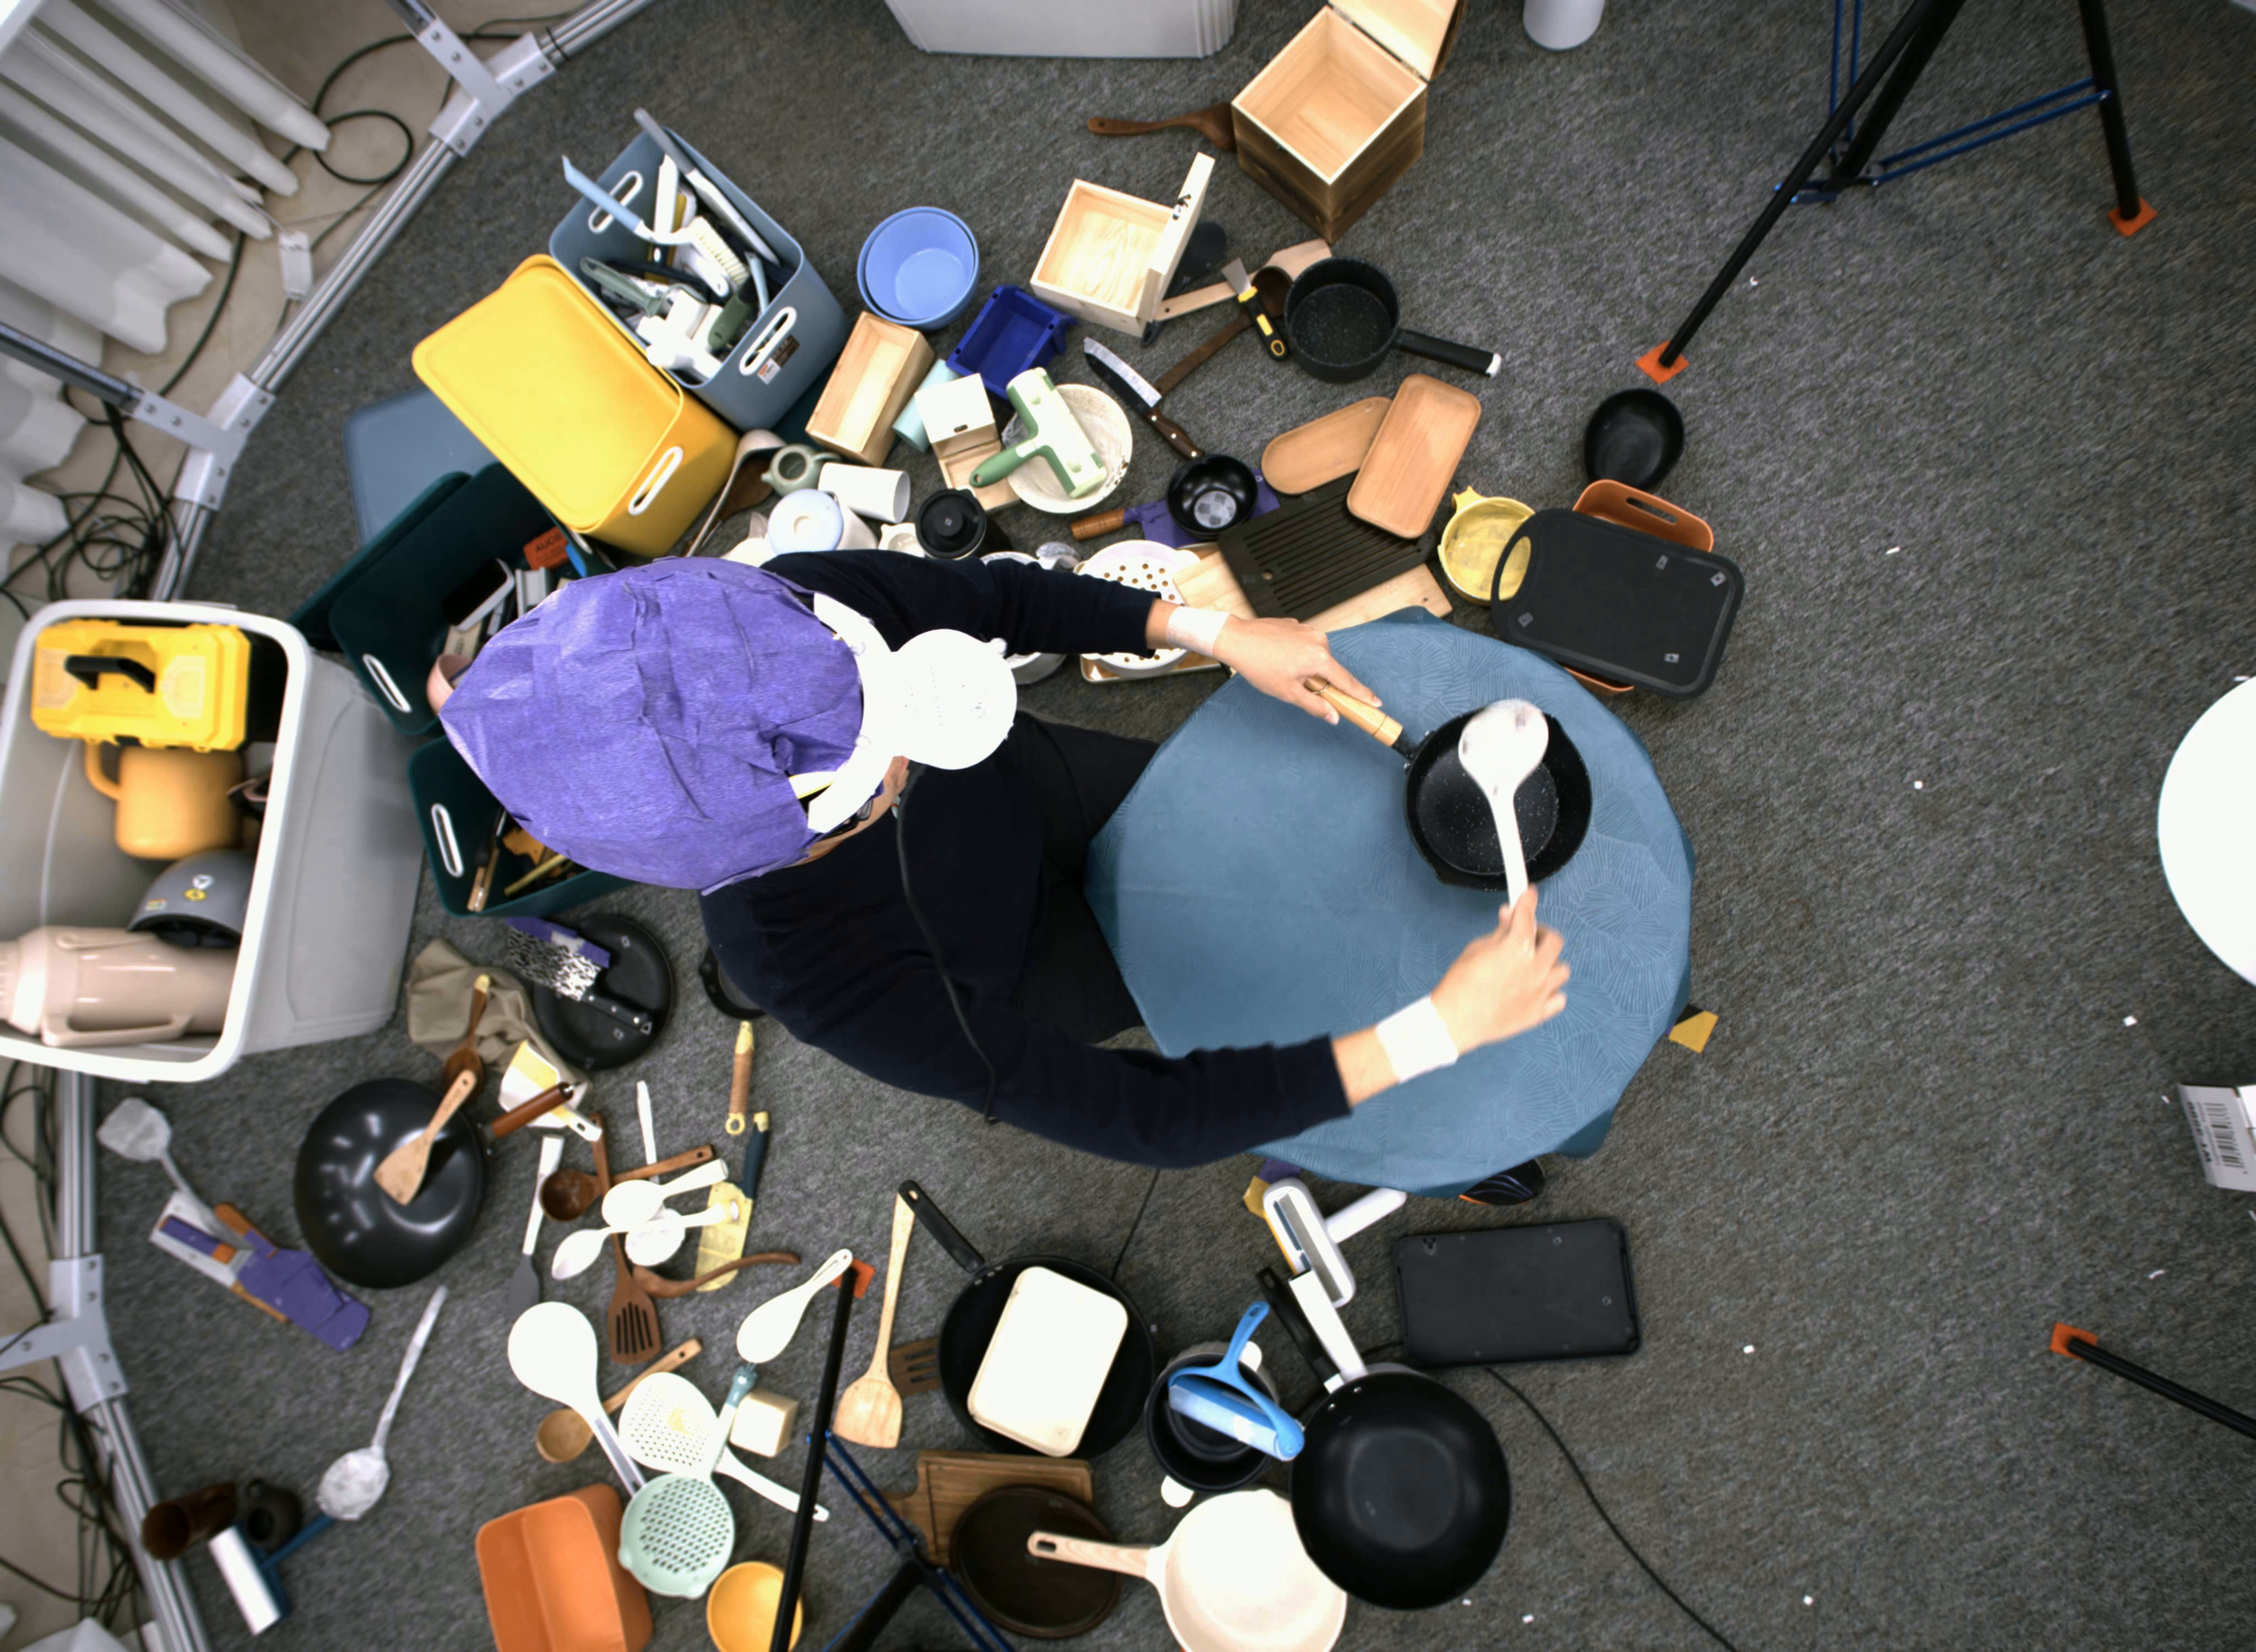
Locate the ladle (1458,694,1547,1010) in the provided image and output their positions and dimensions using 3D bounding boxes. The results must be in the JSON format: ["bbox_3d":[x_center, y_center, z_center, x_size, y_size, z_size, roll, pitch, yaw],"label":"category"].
[{"bbox_3d":[0.347,0.017,1.201,0.089,0.071,0.270,2,70,-21],"label":"ladle"}]

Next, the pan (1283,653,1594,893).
[{"bbox_3d":[0.304,-0.068,1.398,0.342,0.108,0.208,32,94,6],"label":"pan"}]
